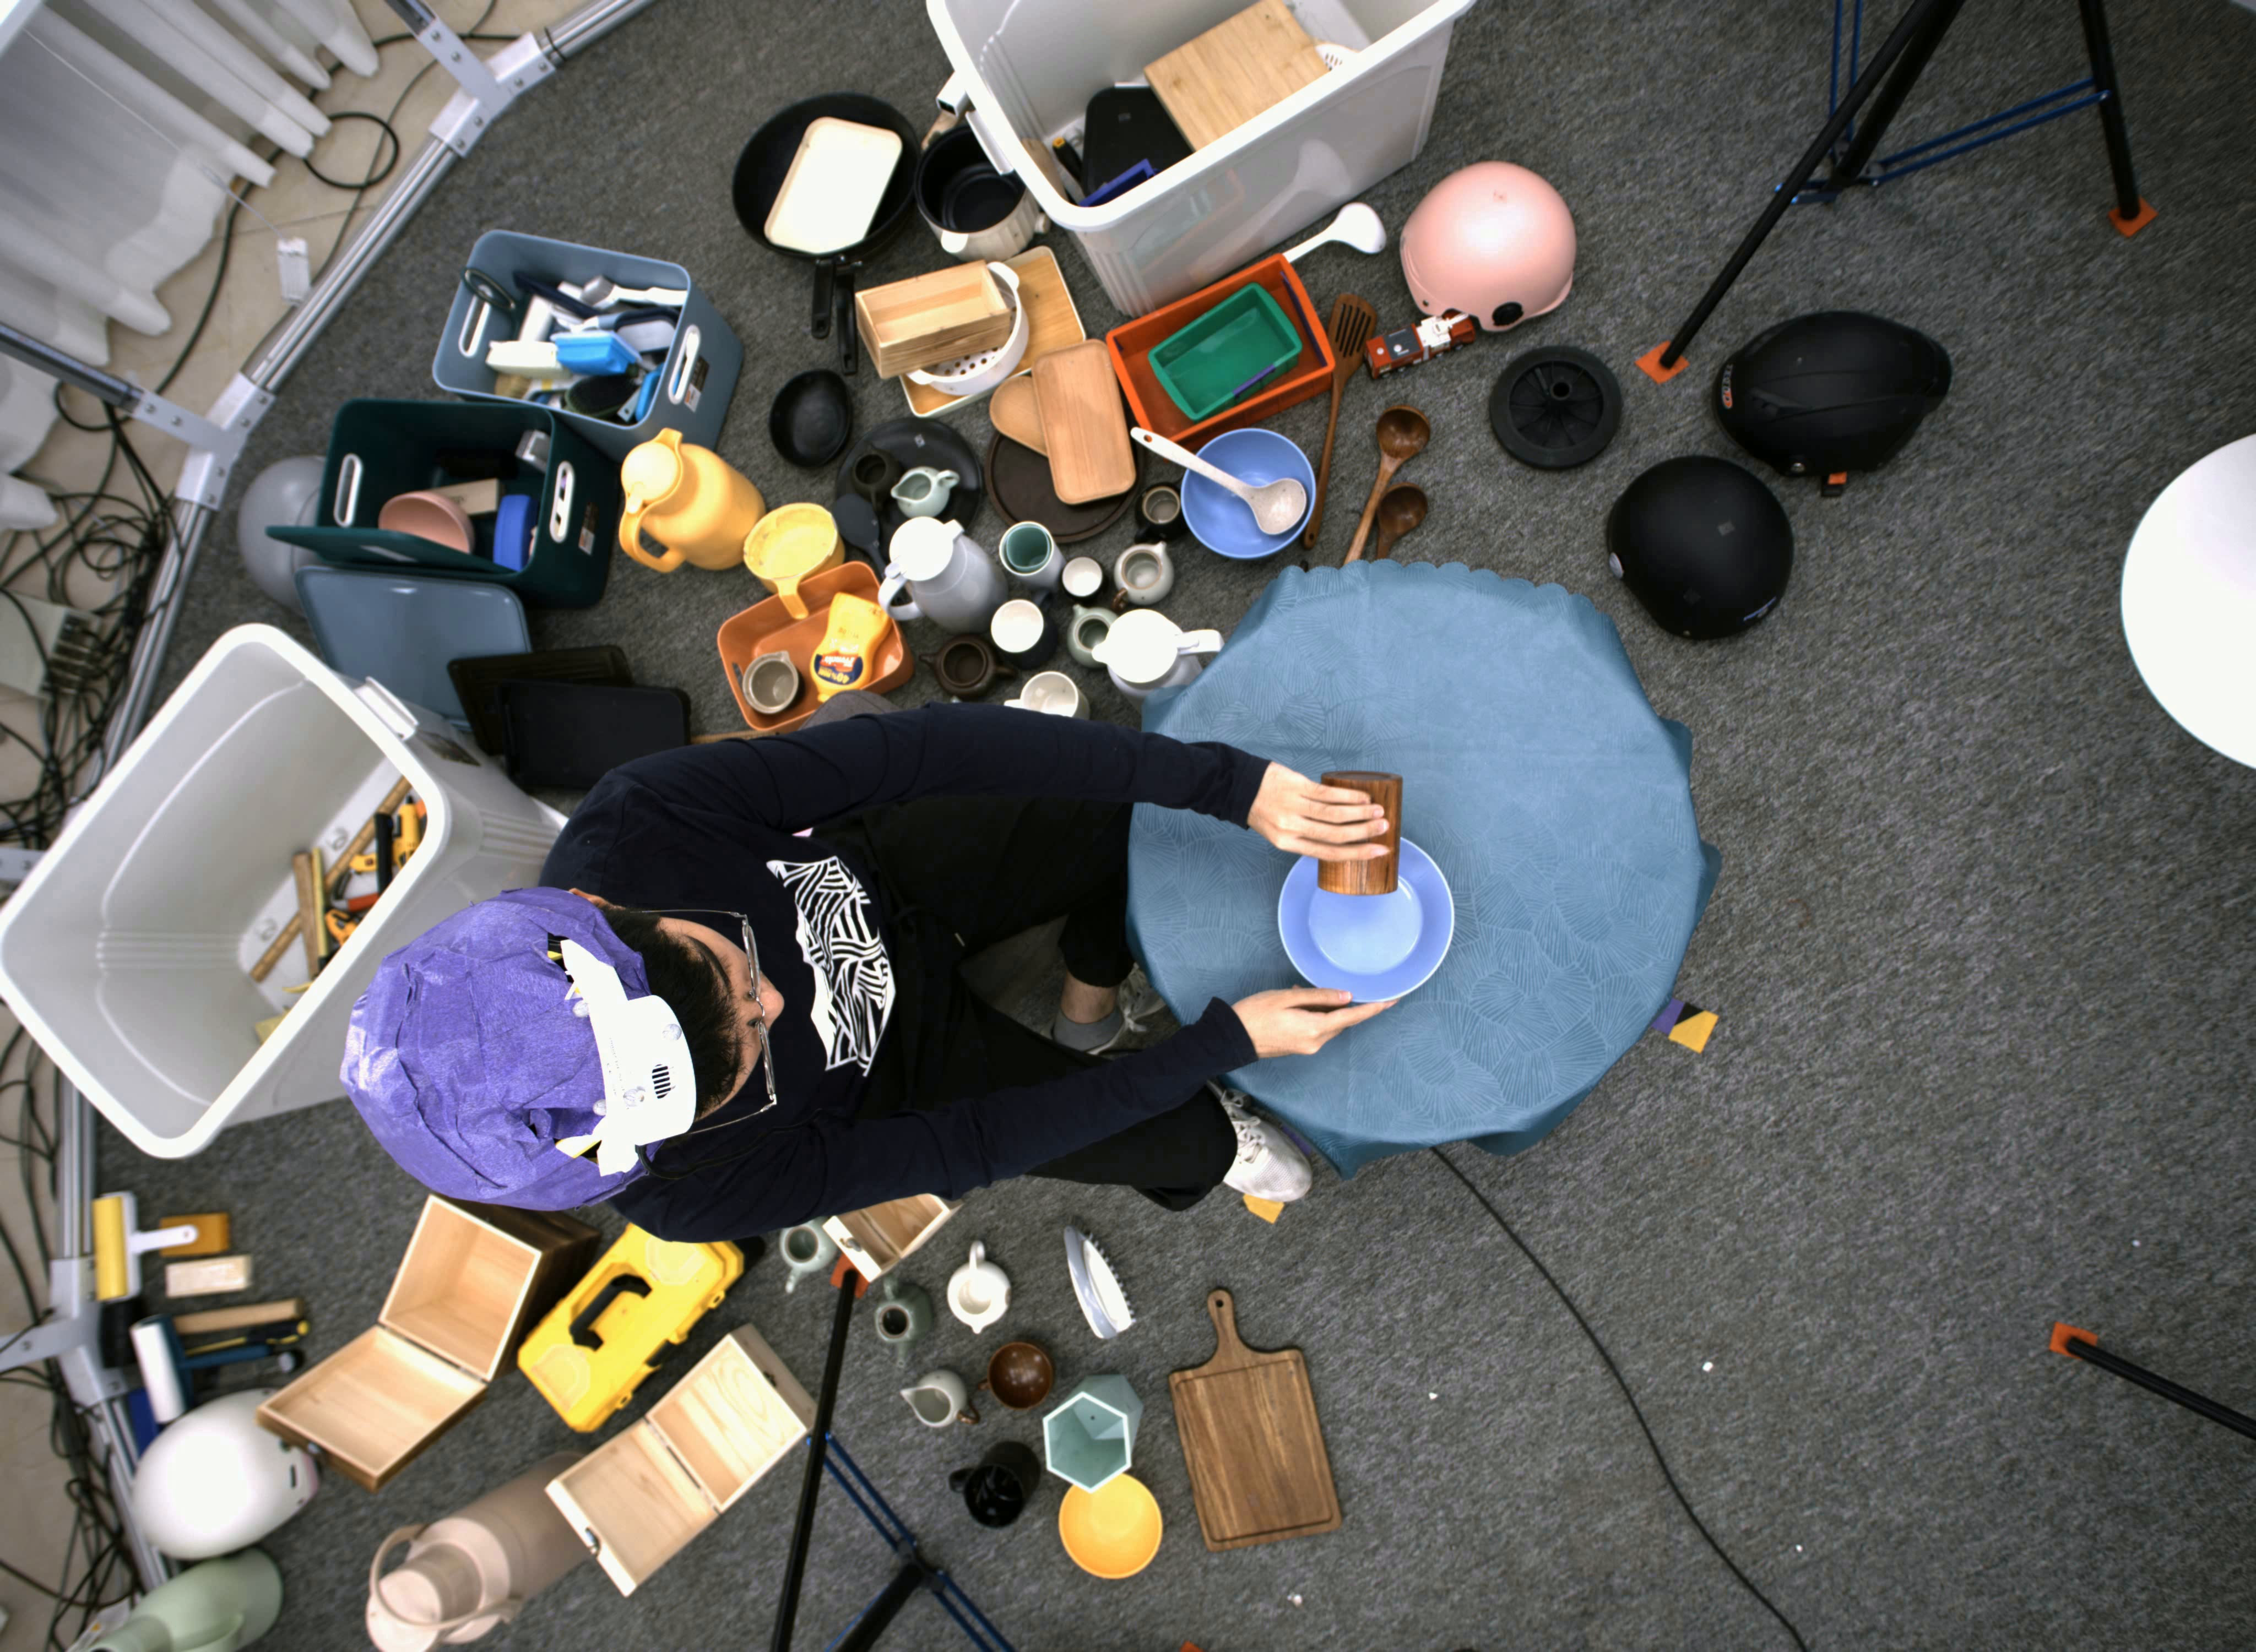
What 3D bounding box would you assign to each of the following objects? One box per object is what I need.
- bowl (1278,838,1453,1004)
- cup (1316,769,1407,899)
[{"bbox_3d":[0.244,0.094,1.427,0.177,0.070,0.175,-1,86,11],"label":"bowl"},{"bbox_3d":[0.229,0.005,1.349,0.088,0.087,0.119,5,99,10],"label":"cup"}]
